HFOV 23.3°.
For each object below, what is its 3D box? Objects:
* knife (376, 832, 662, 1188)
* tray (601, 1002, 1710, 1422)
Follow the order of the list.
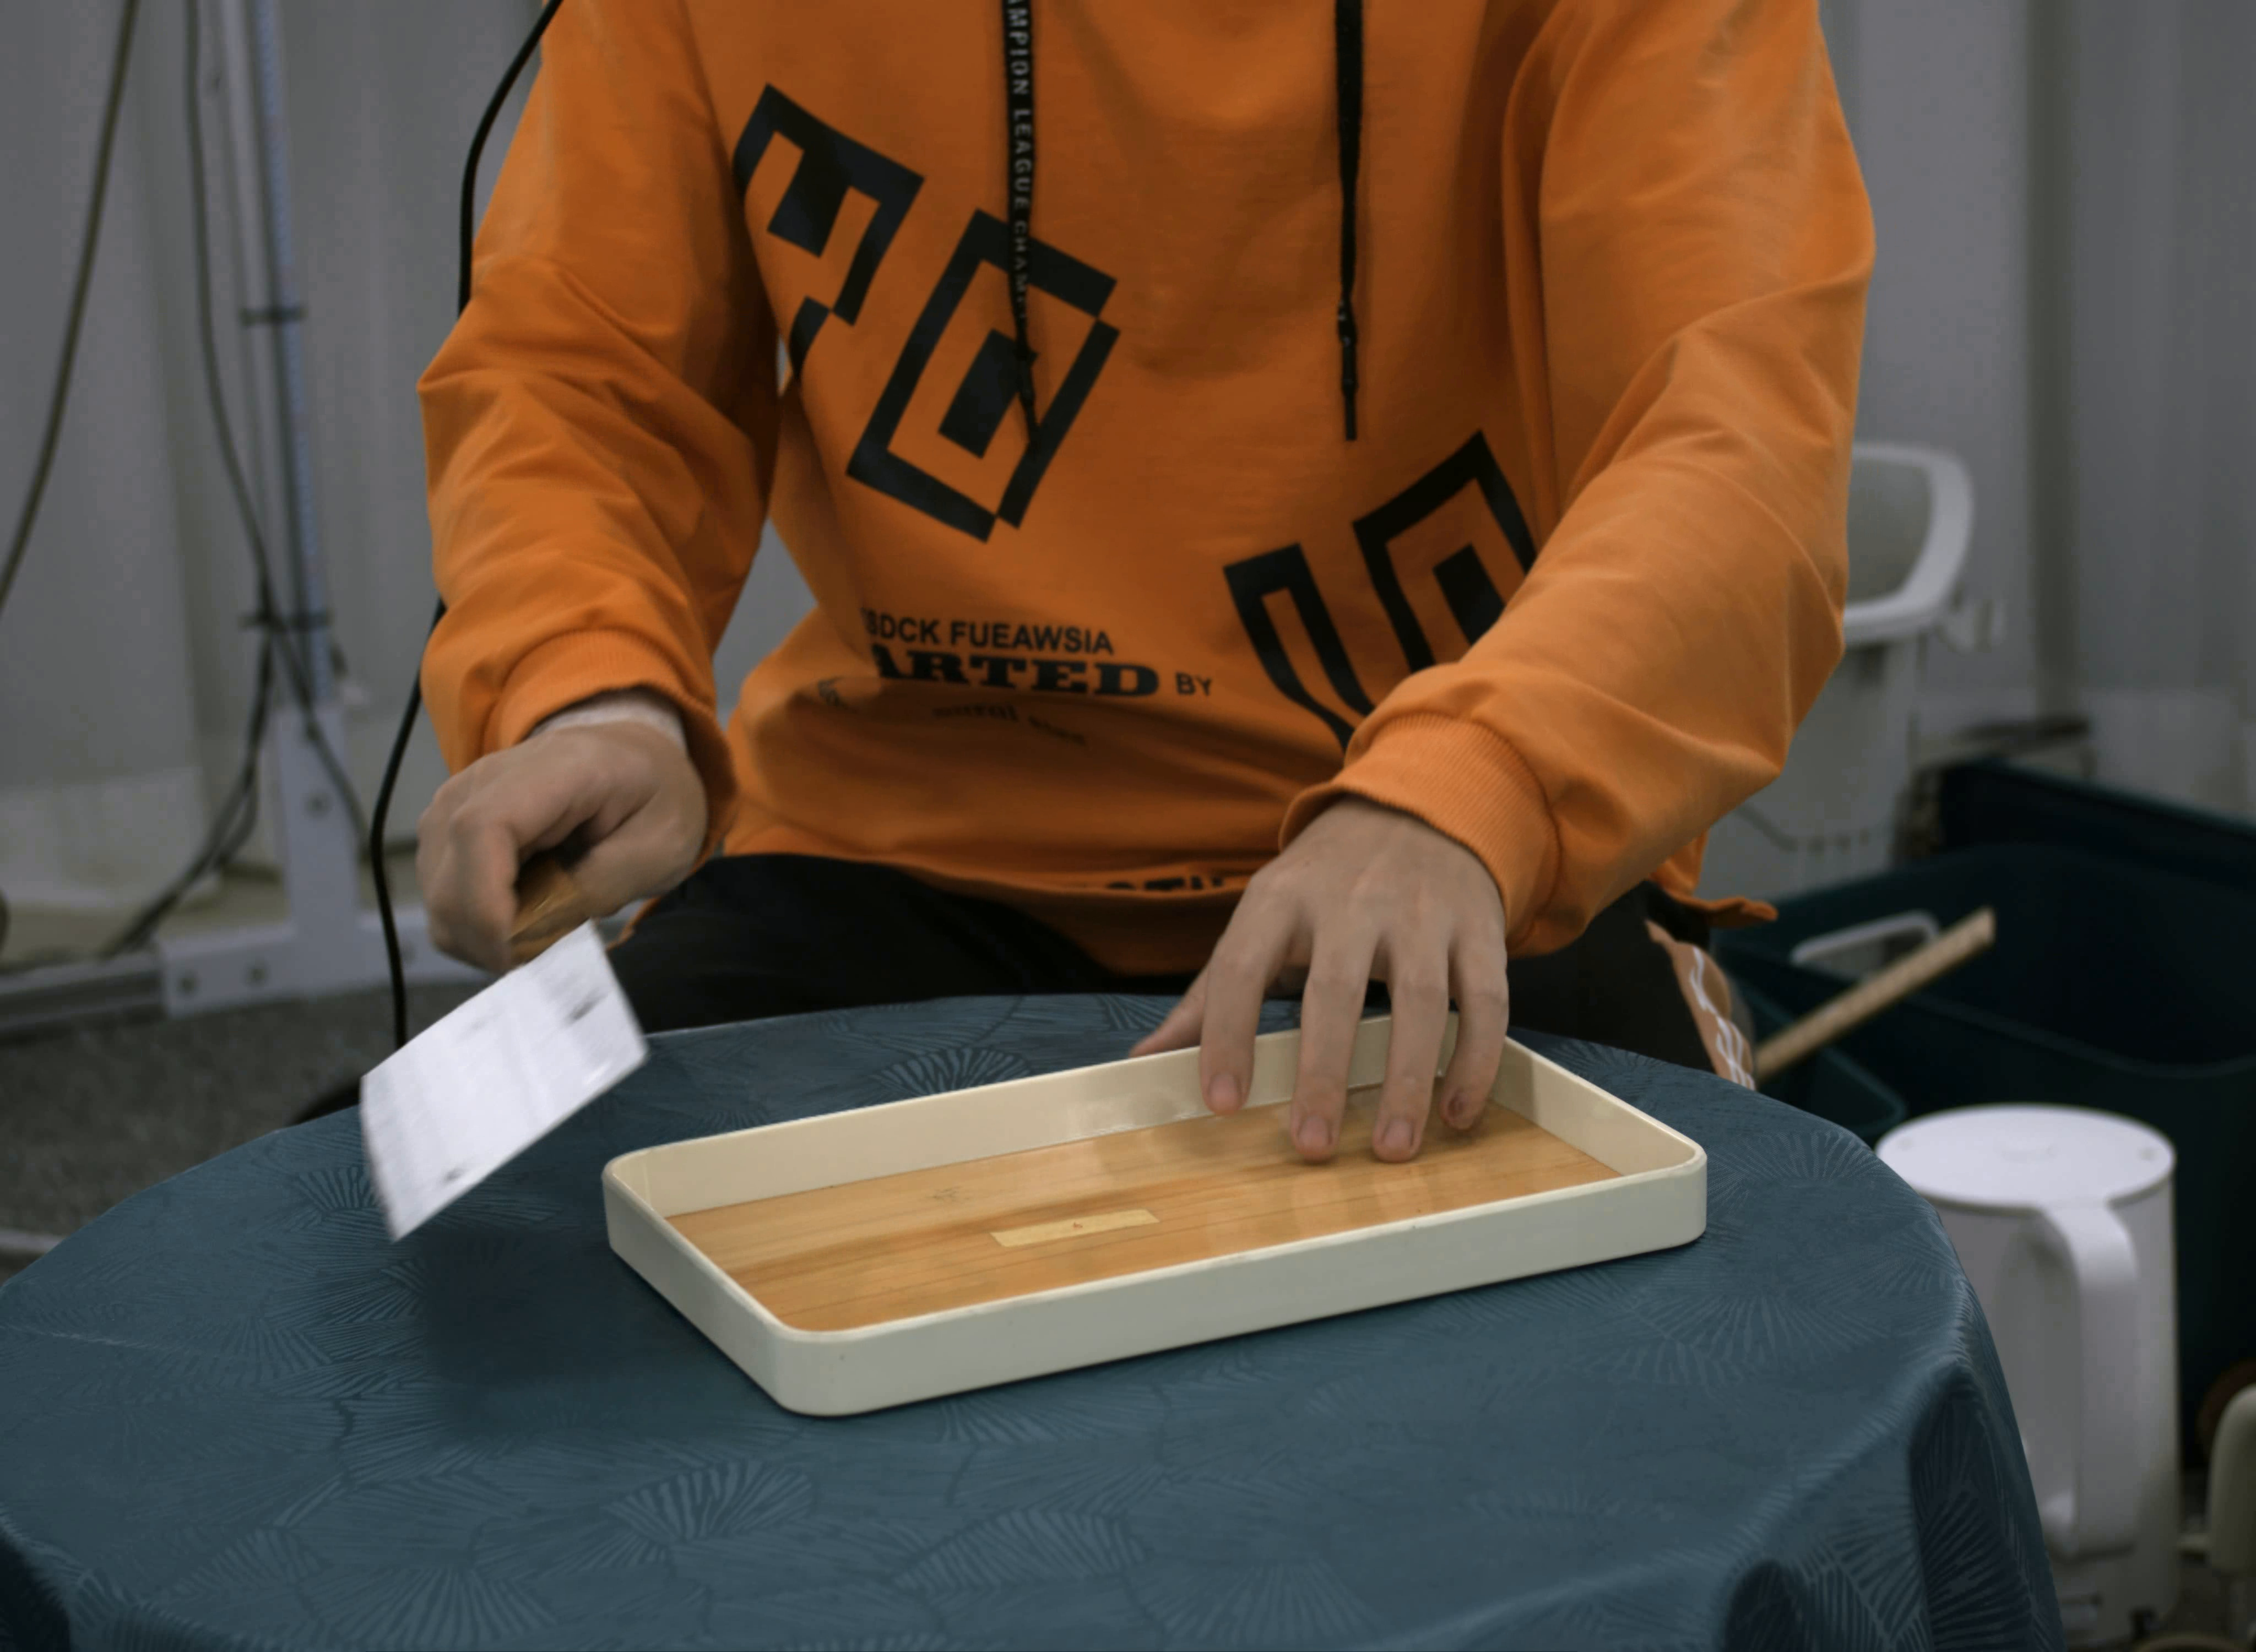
[{"bbox_3d":[-0.195,0.058,1.702,0.093,0.021,0.307,-38,15,-2],"label":"knife"},{"bbox_3d":[0.007,0.114,1.664,0.299,0.027,0.193,-9,18,-21],"label":"tray"}]
